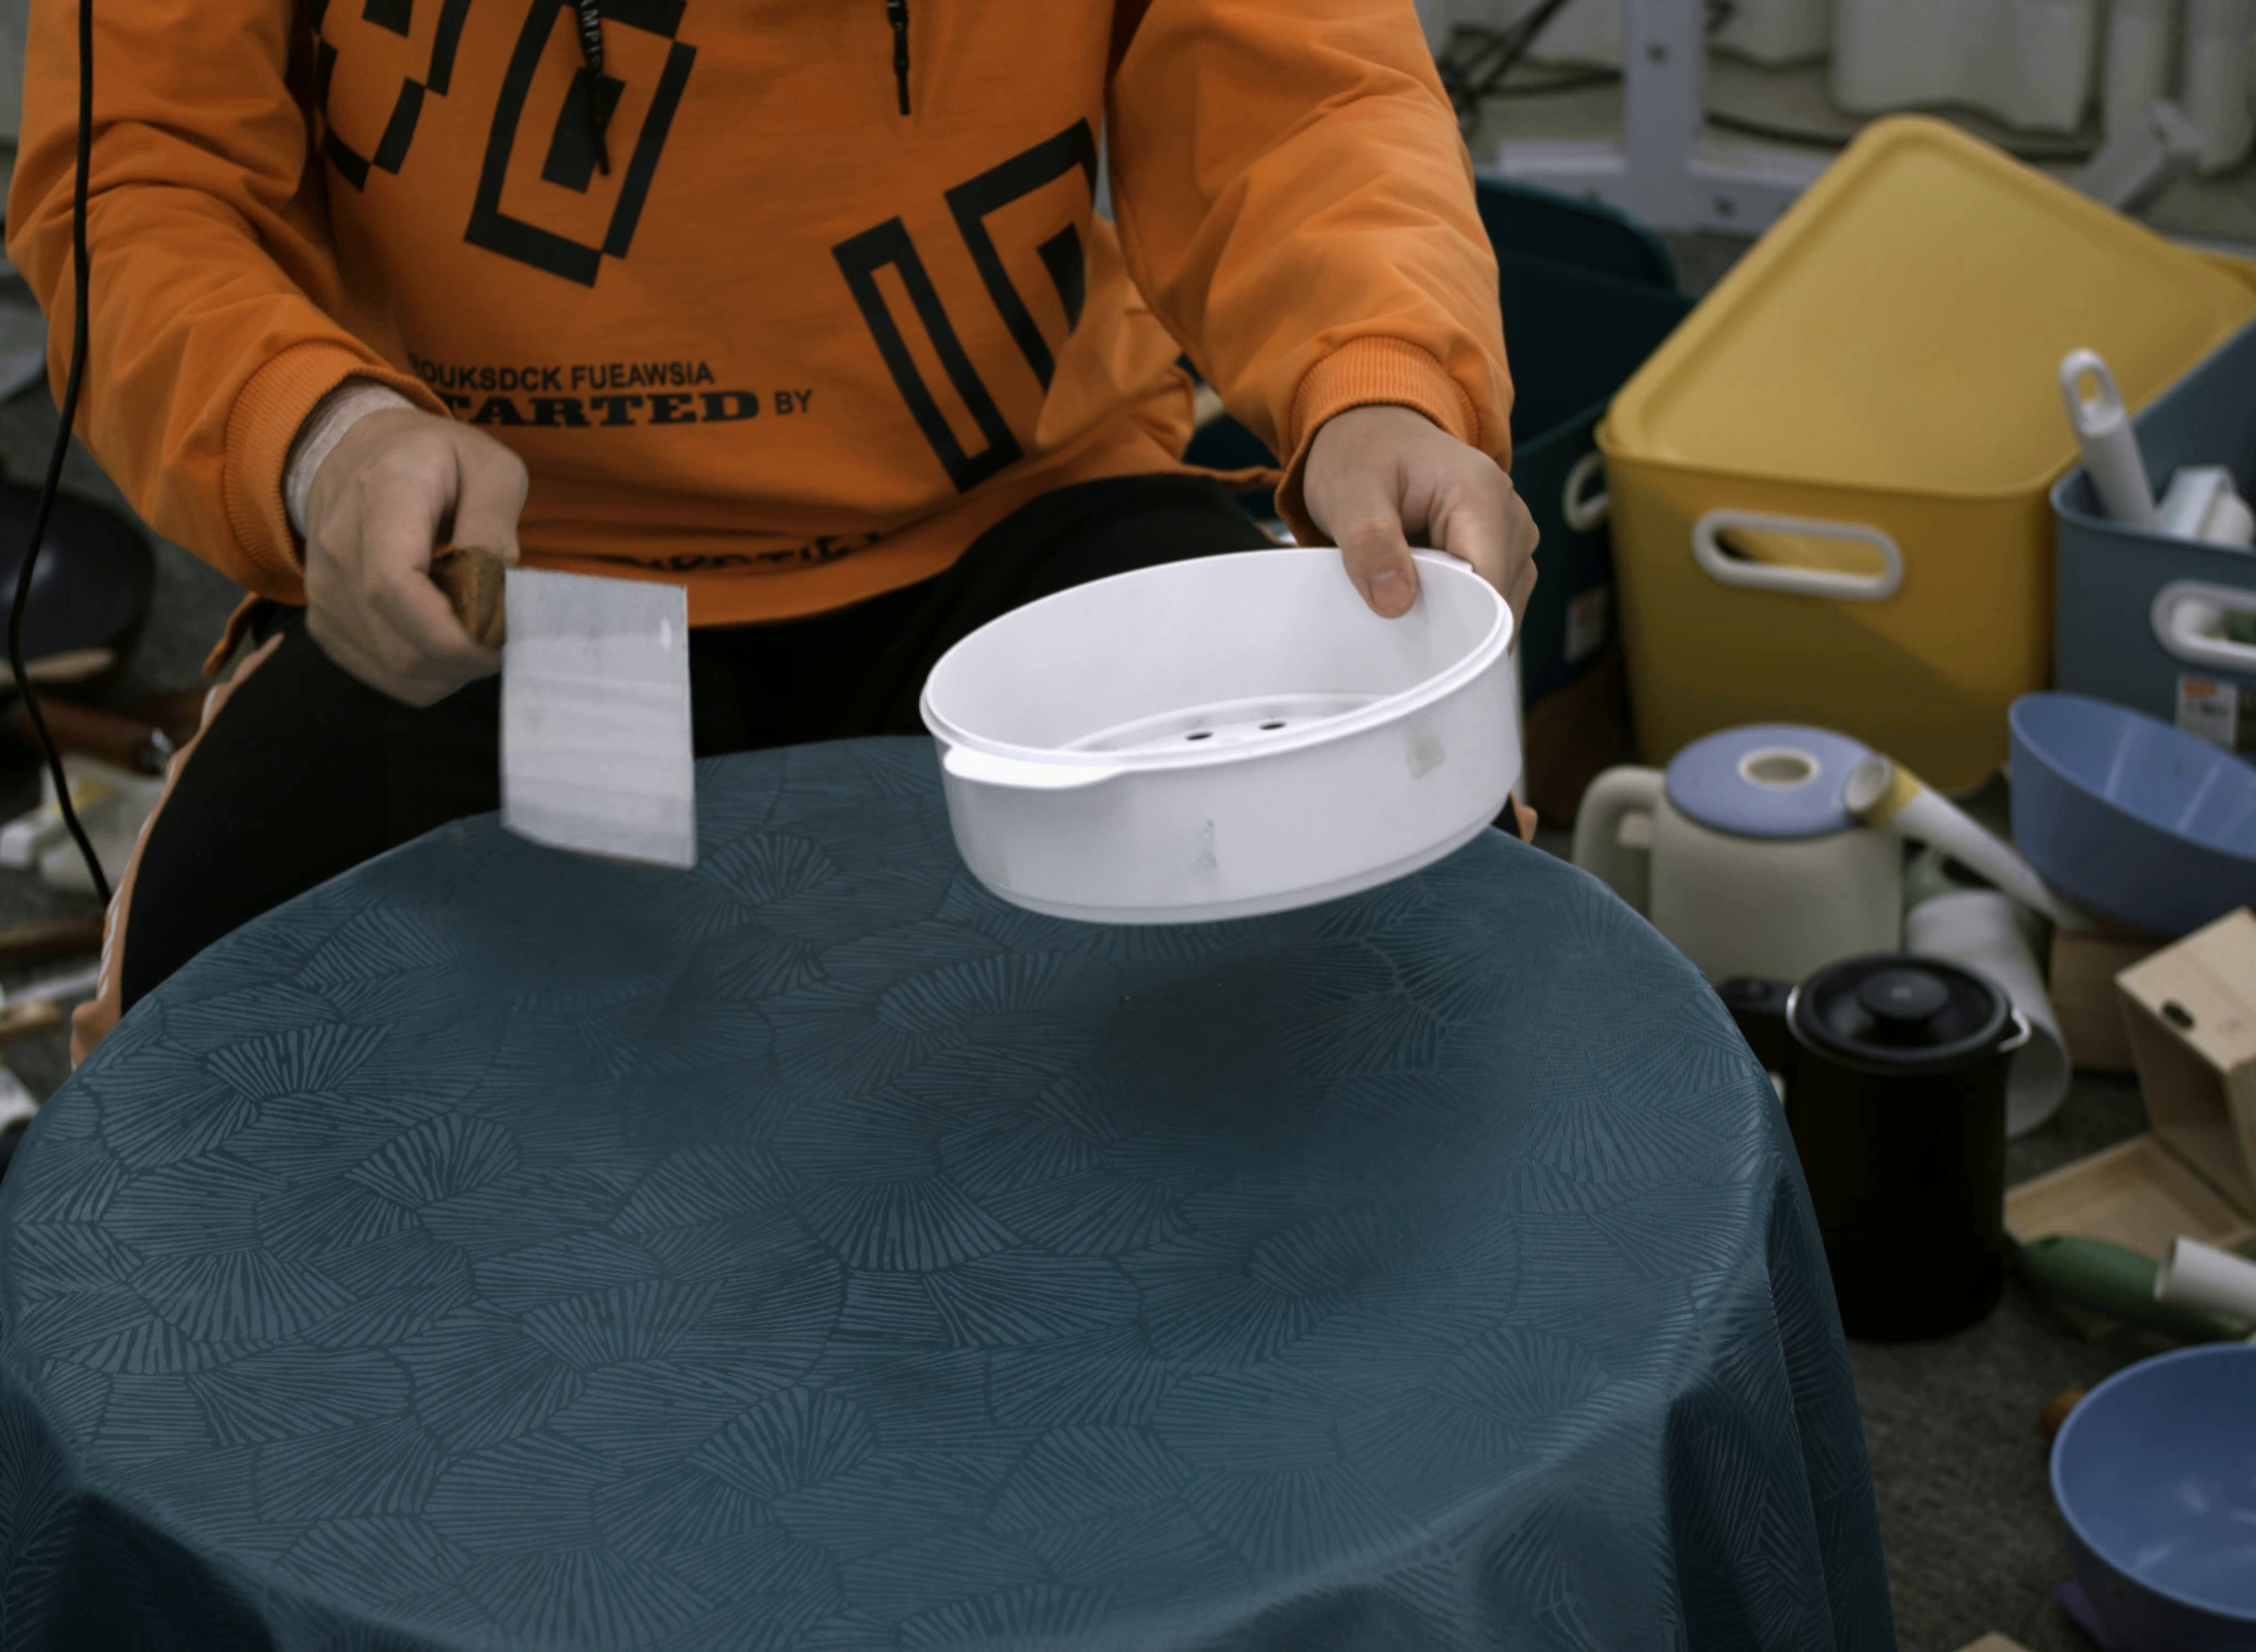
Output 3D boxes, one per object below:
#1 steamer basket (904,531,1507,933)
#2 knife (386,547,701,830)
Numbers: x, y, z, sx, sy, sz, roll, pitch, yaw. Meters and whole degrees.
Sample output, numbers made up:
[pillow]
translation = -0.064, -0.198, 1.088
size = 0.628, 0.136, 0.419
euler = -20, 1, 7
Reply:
[steamer basket]
translation = 0.028, -0.031, 1.888
size = 0.200, 0.069, 0.234
euler = 7, 28, 38
[knife]
translation = -0.194, -0.045, 1.871
size = 0.021, 0.093, 0.304
euler = -6, 6, -23
